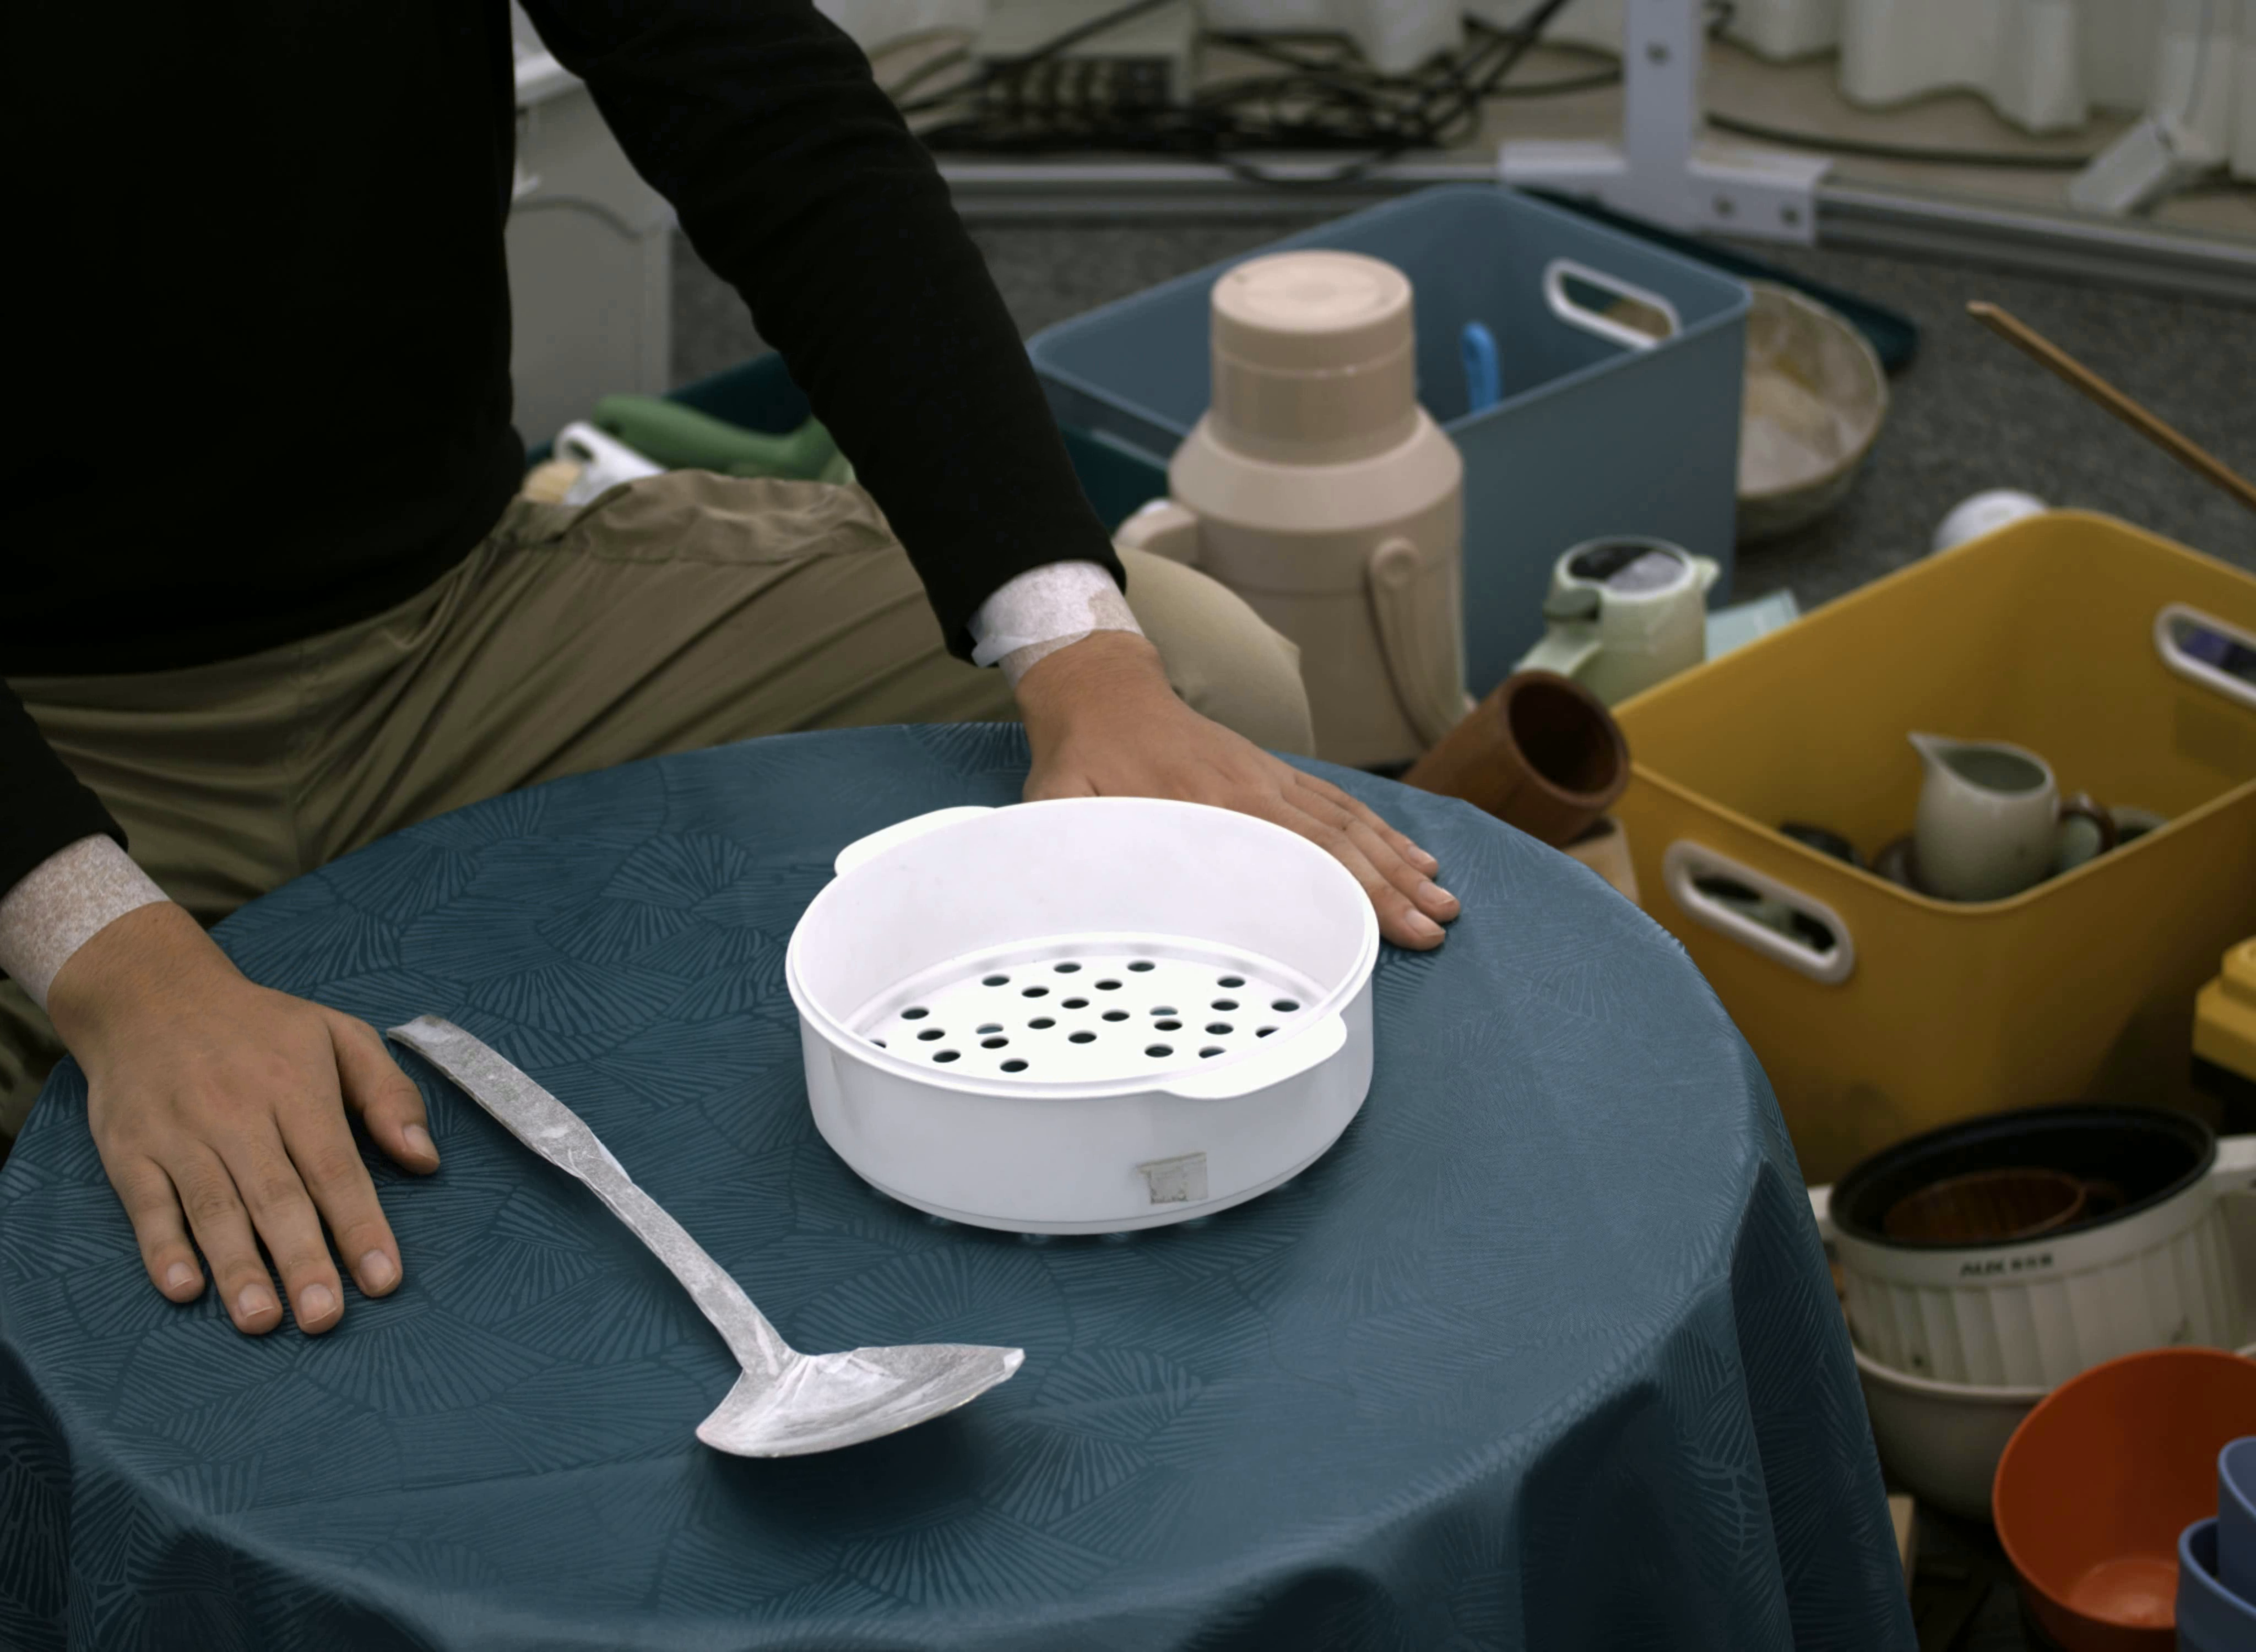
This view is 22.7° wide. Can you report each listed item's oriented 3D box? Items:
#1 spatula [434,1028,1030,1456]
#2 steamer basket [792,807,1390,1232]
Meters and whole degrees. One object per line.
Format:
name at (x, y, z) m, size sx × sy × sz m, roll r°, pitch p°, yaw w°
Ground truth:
spatula at (-0.153, 0.126, 1.827) m, size 0.099 × 0.044 × 0.366 m, roll -20°, pitch 31°, yaw -25°
steamer basket at (-0.011, 0.066, 1.895) m, size 0.203 × 0.068 × 0.231 m, roll -19°, pitch 30°, yaw -31°
